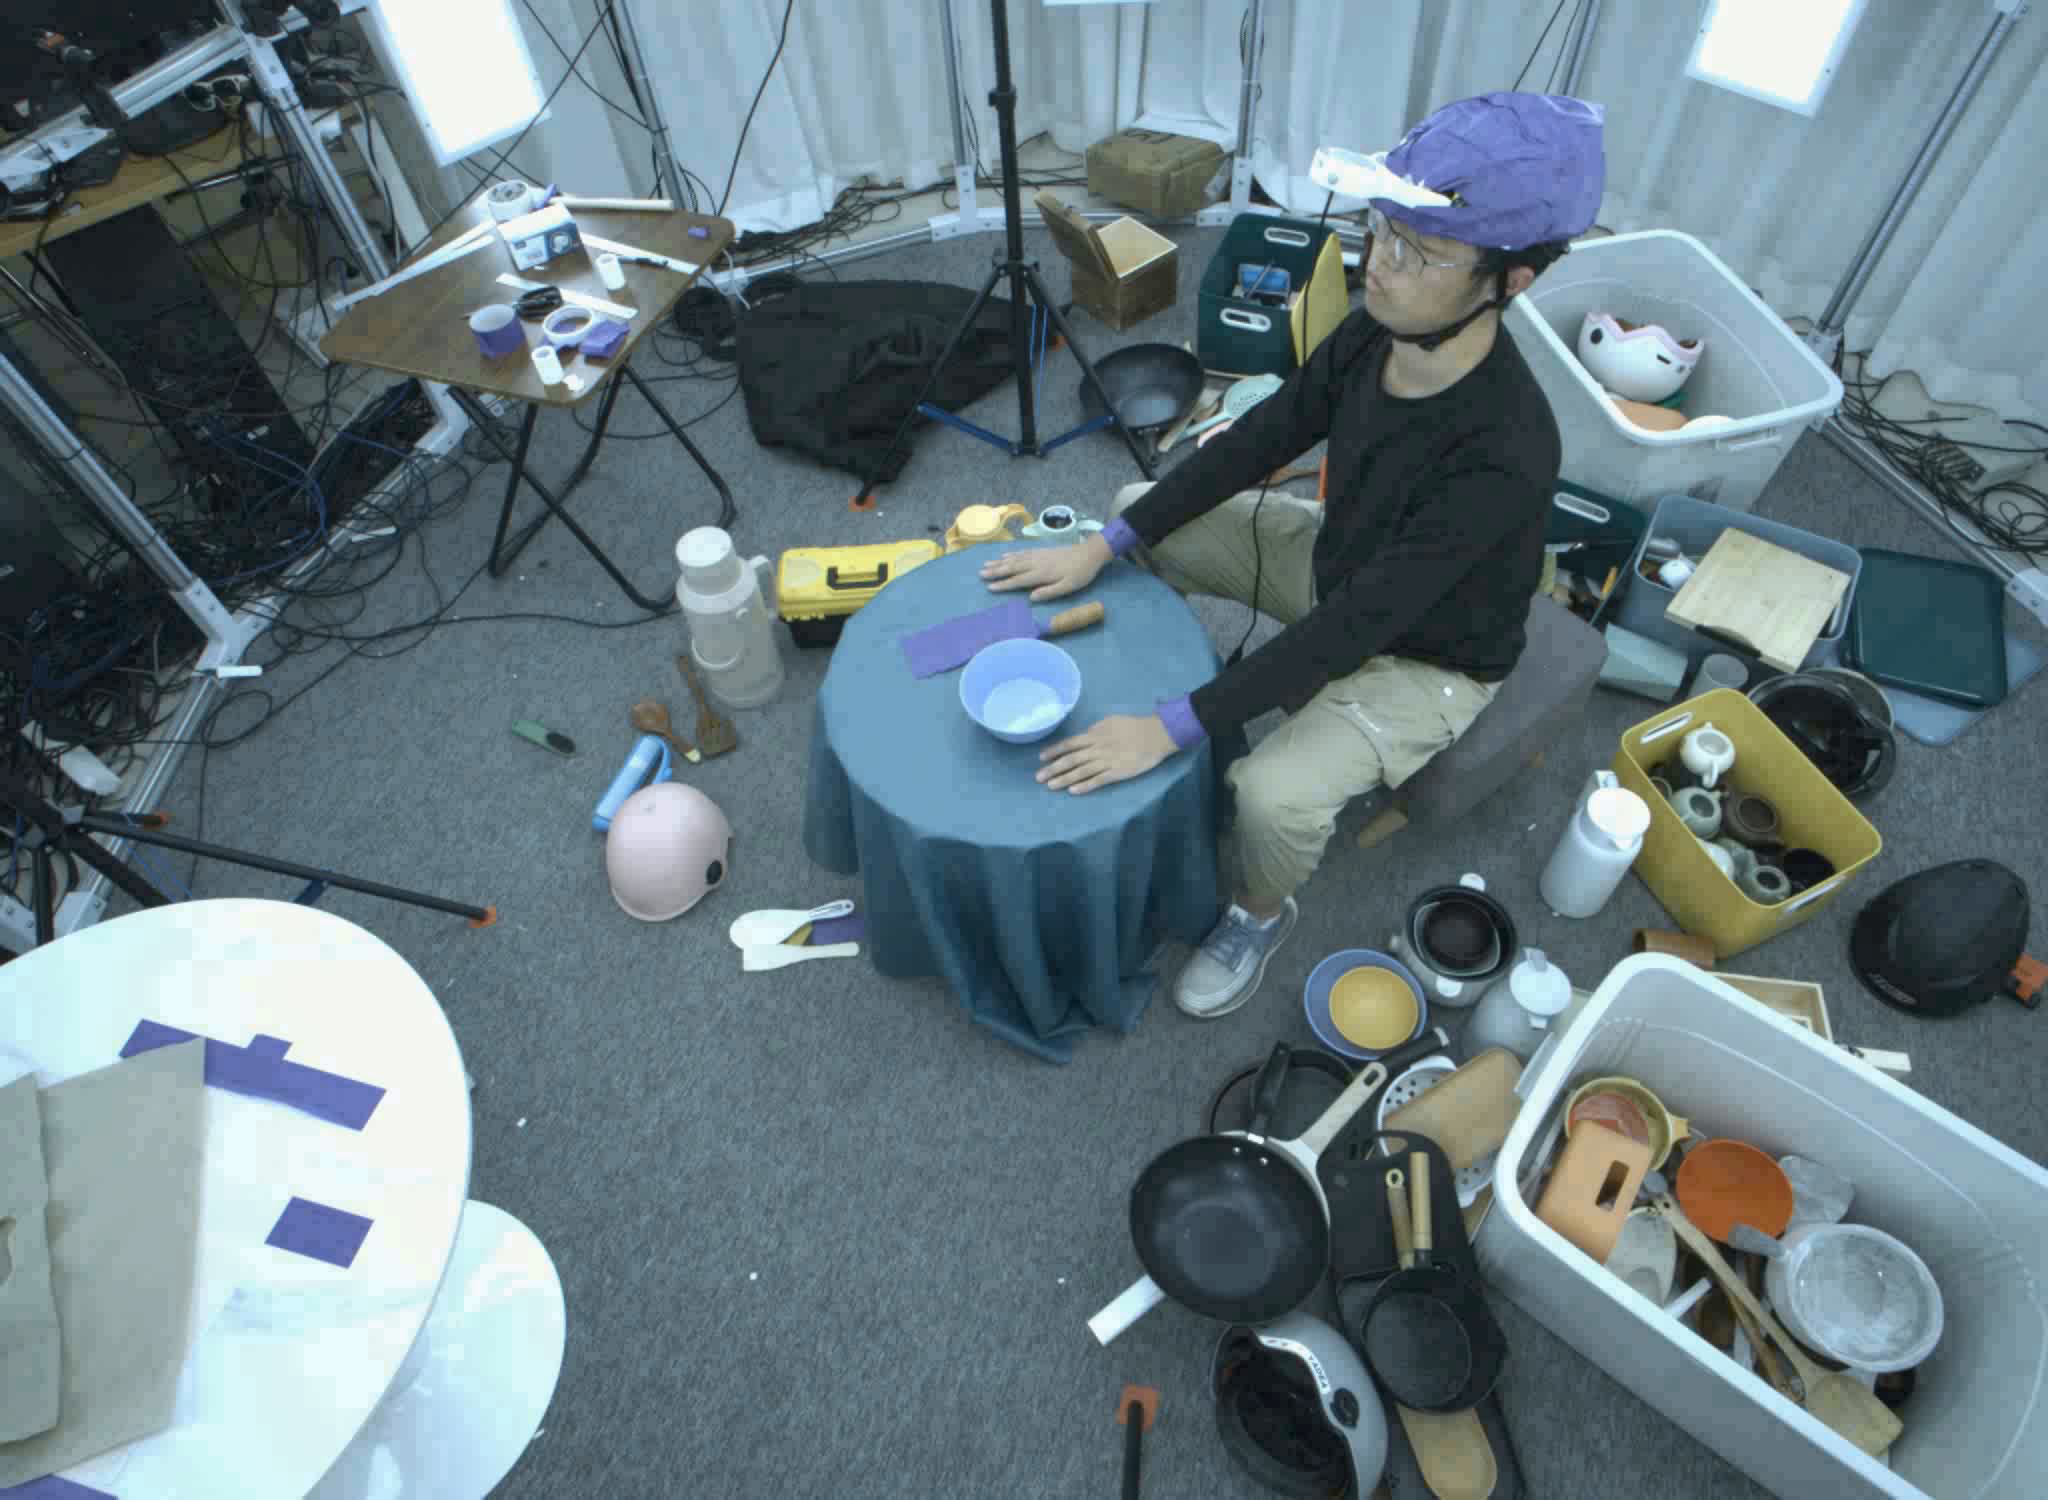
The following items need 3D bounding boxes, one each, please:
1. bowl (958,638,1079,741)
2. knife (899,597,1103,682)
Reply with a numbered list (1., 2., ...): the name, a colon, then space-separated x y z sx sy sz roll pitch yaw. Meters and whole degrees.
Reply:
1. bowl: -0.007 -0.078 1.795 0.176 0.071 0.174 0 55 1
2. knife: -0.038 -0.193 1.906 0.317 0.032 0.102 -19 56 -11
